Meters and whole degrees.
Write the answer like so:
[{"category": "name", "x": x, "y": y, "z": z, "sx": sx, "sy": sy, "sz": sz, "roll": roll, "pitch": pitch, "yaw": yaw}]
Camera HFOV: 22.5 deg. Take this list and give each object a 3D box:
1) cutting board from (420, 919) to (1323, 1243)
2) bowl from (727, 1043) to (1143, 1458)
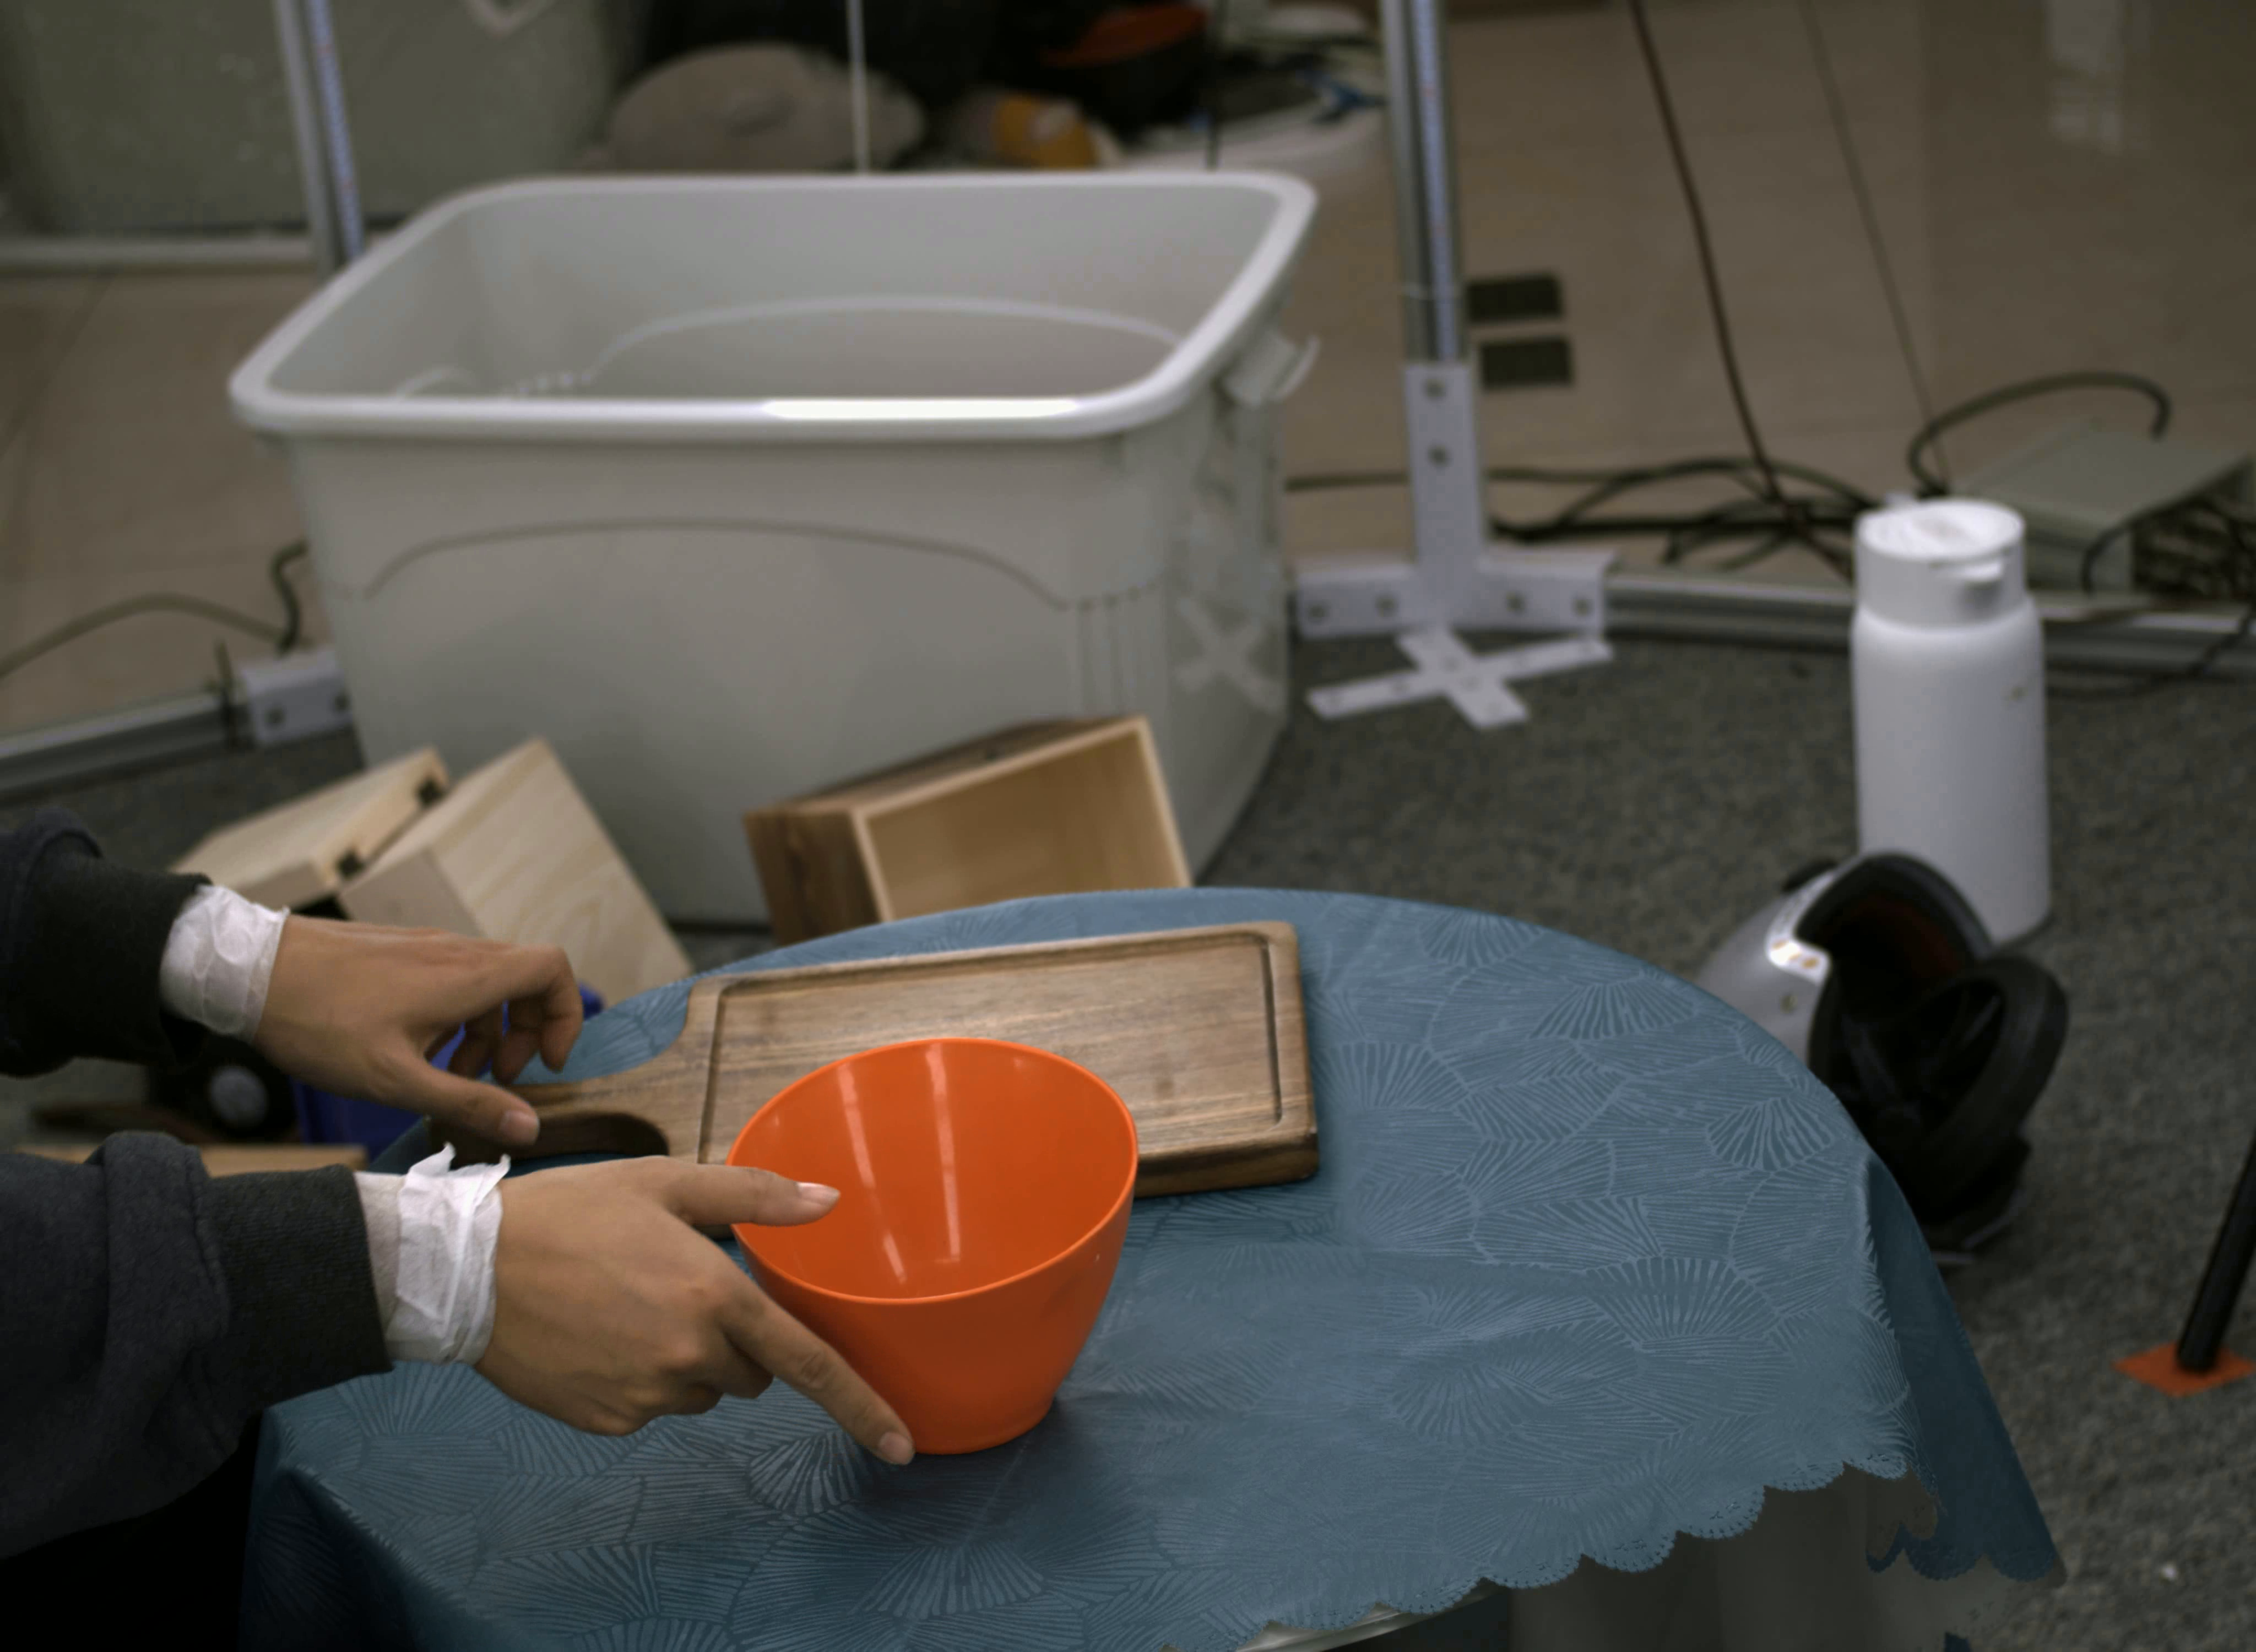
[{"category": "cutting board", "x": -0.103, "y": 0.103, "z": 2.227, "sx": 0.351, "sy": 0.023, "sz": 0.198, "roll": -6, "pitch": 25, "yaw": 2}, {"category": "bowl", "x": -0.063, "y": 0.156, "z": 2.005, "sx": 0.148, "sy": 0.106, "sz": 0.146, "roll": -6, "pitch": 25, "yaw": 3}]
